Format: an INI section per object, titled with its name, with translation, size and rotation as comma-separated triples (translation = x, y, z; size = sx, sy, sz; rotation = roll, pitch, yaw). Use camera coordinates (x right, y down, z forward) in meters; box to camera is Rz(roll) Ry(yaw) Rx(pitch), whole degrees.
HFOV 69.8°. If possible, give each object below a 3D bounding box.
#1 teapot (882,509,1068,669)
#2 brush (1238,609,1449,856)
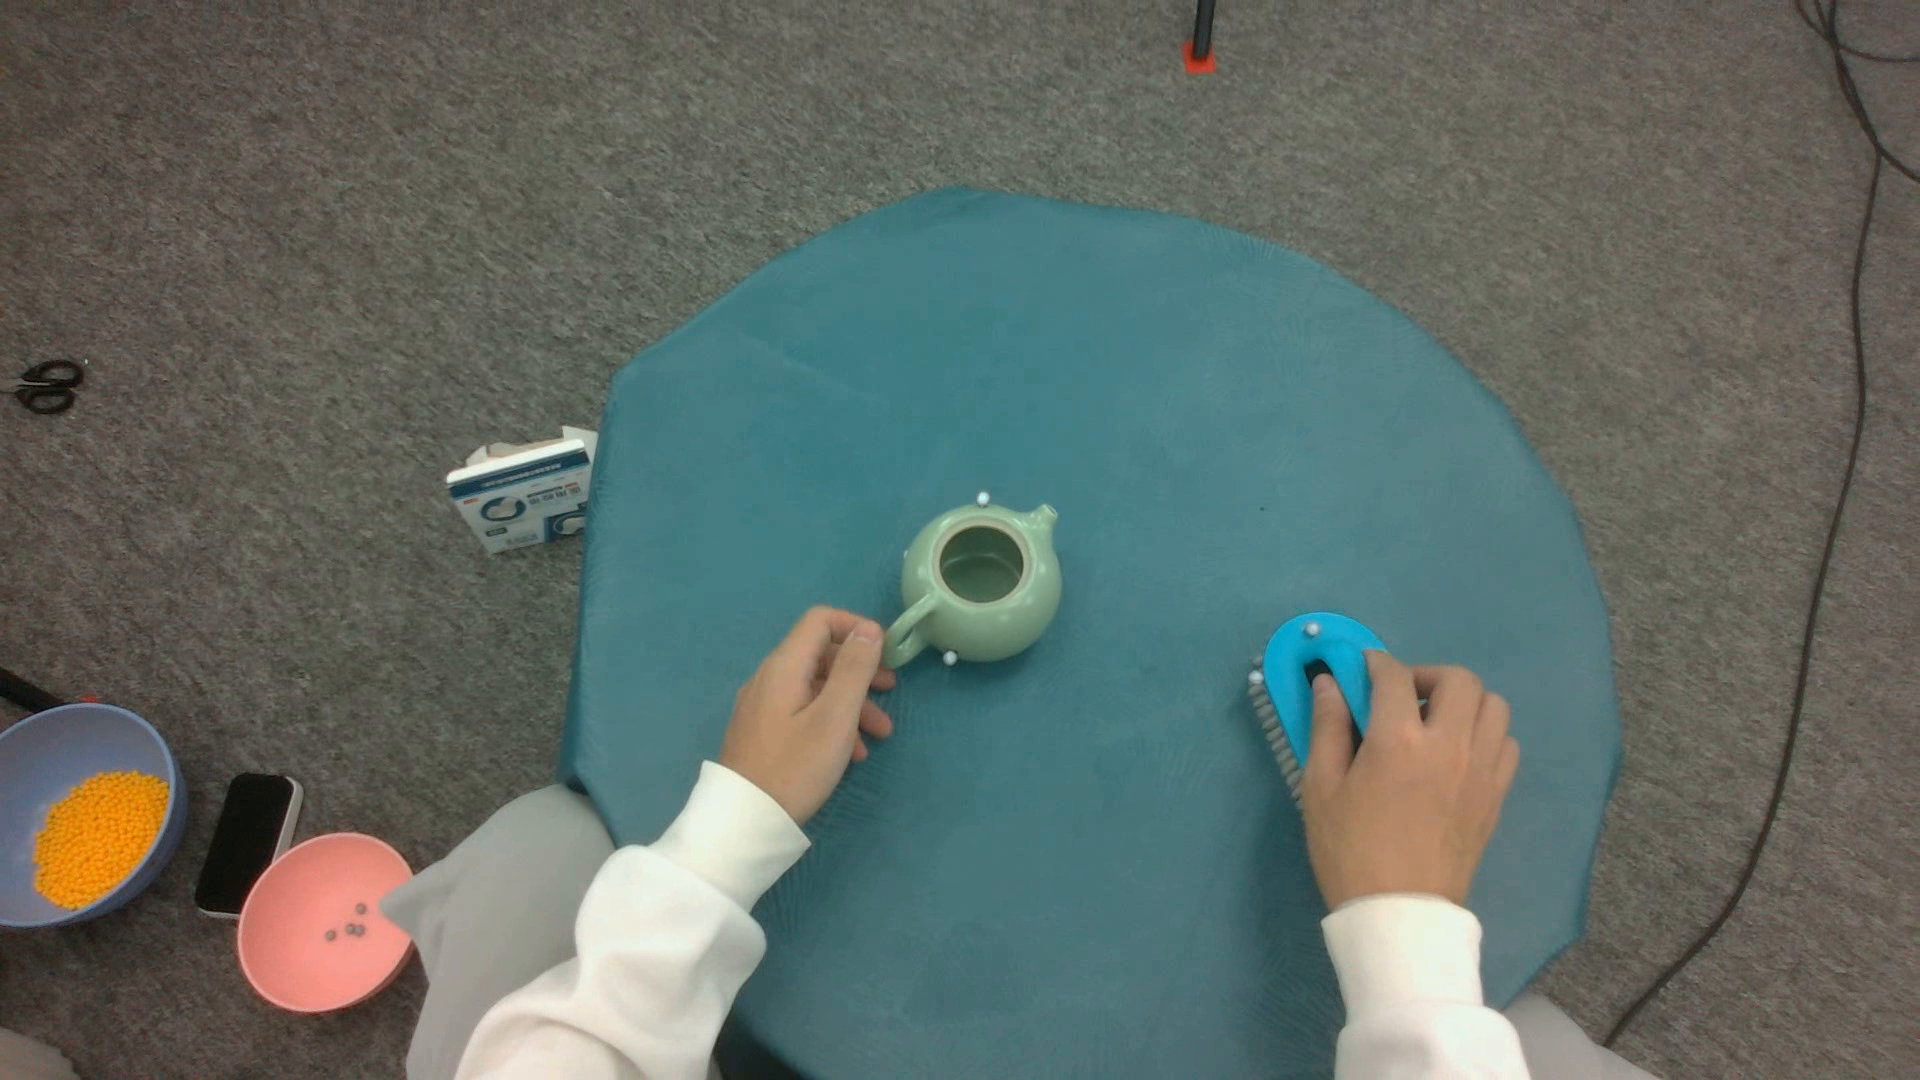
[teapot]
translation = 0.008, 0.033, 0.789
size = 0.129, 0.061, 0.091
rotation = -35, 71, -15
[brush]
translation = 0.215, 0.097, 0.755
size = 0.084, 0.063, 0.142
rotation = -17, 66, -16
